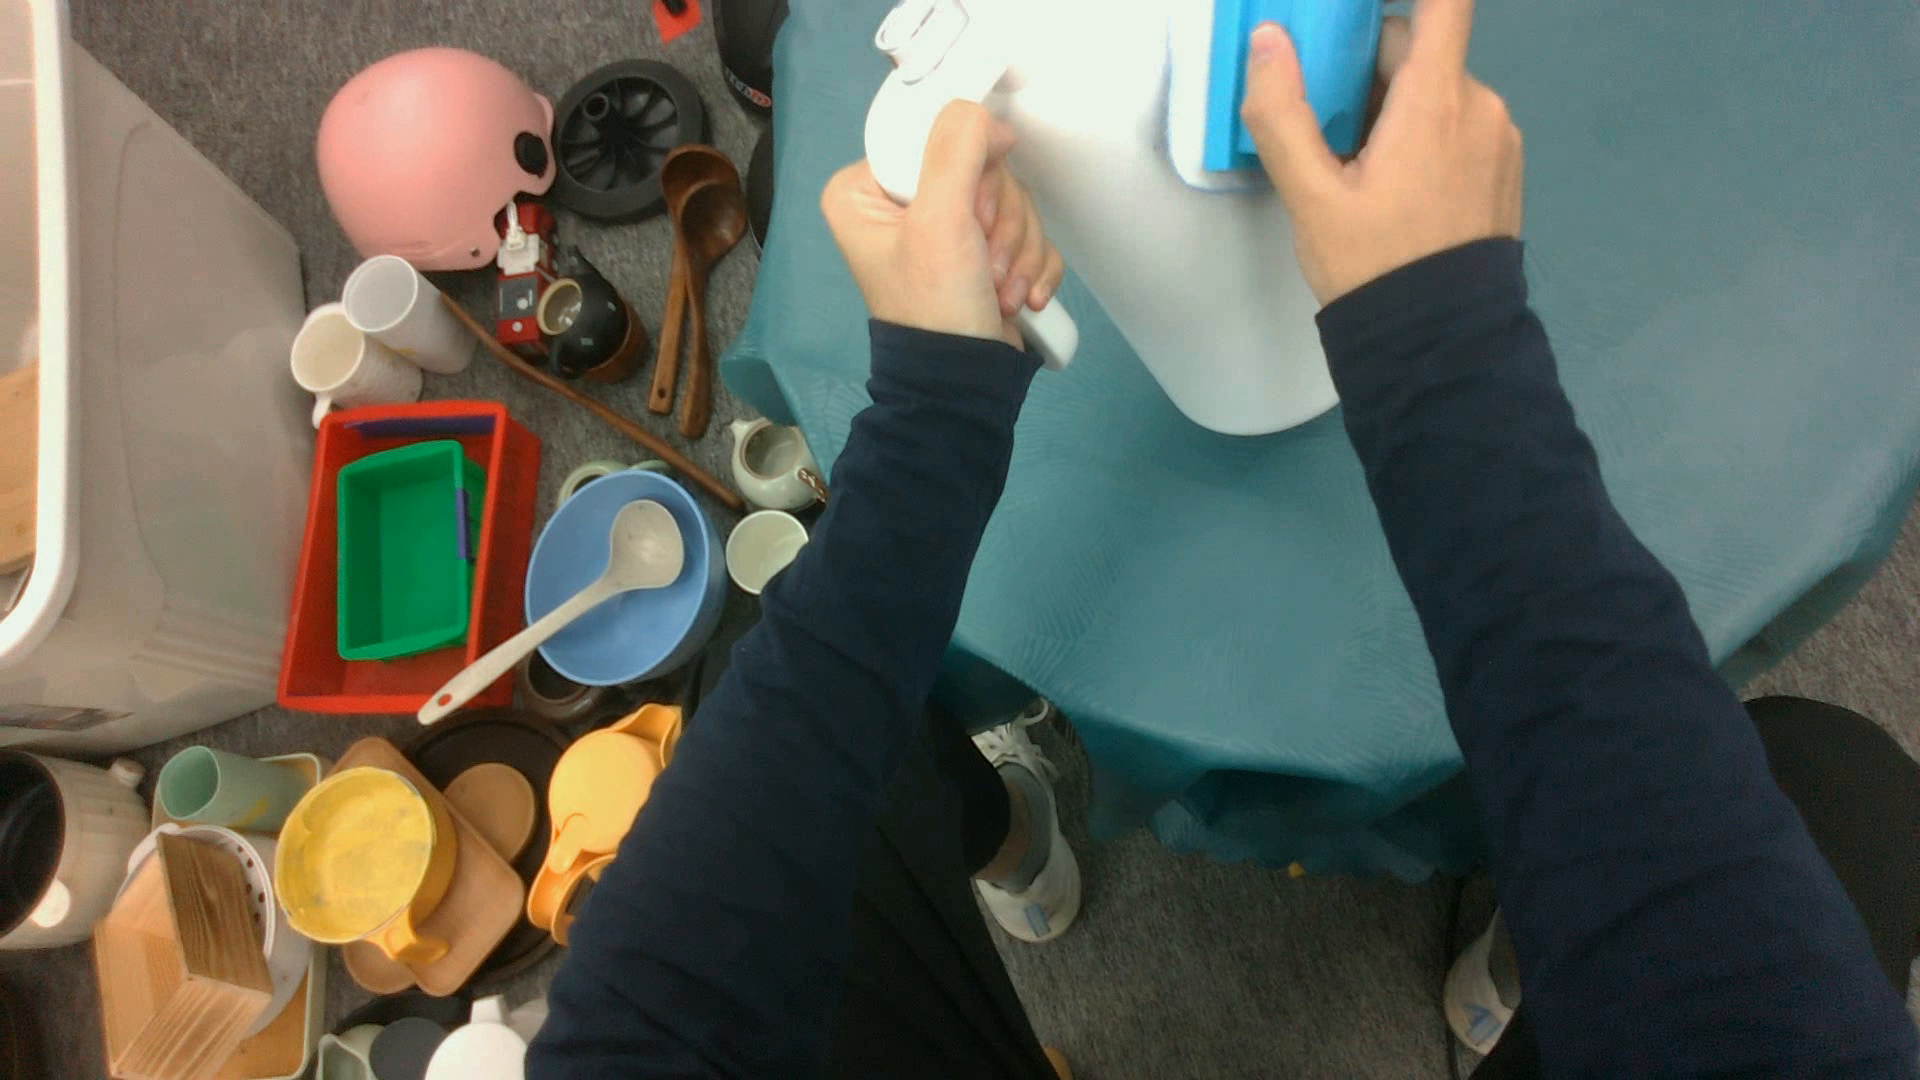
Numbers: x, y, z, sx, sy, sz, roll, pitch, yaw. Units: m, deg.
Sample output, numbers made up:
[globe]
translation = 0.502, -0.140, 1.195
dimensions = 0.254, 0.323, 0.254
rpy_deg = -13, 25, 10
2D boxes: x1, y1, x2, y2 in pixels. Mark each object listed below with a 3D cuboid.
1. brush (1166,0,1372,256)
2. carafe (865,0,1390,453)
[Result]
[brush]
translation = 0.120, -0.177, 0.502
dimensions = 0.056, 0.084, 0.143
rpy_deg = 14, 109, 50
[carafe]
translation = 0.076, -0.140, 0.589
dimensions = 0.123, 0.268, 0.173
rpy_deg = 19, 73, 45
